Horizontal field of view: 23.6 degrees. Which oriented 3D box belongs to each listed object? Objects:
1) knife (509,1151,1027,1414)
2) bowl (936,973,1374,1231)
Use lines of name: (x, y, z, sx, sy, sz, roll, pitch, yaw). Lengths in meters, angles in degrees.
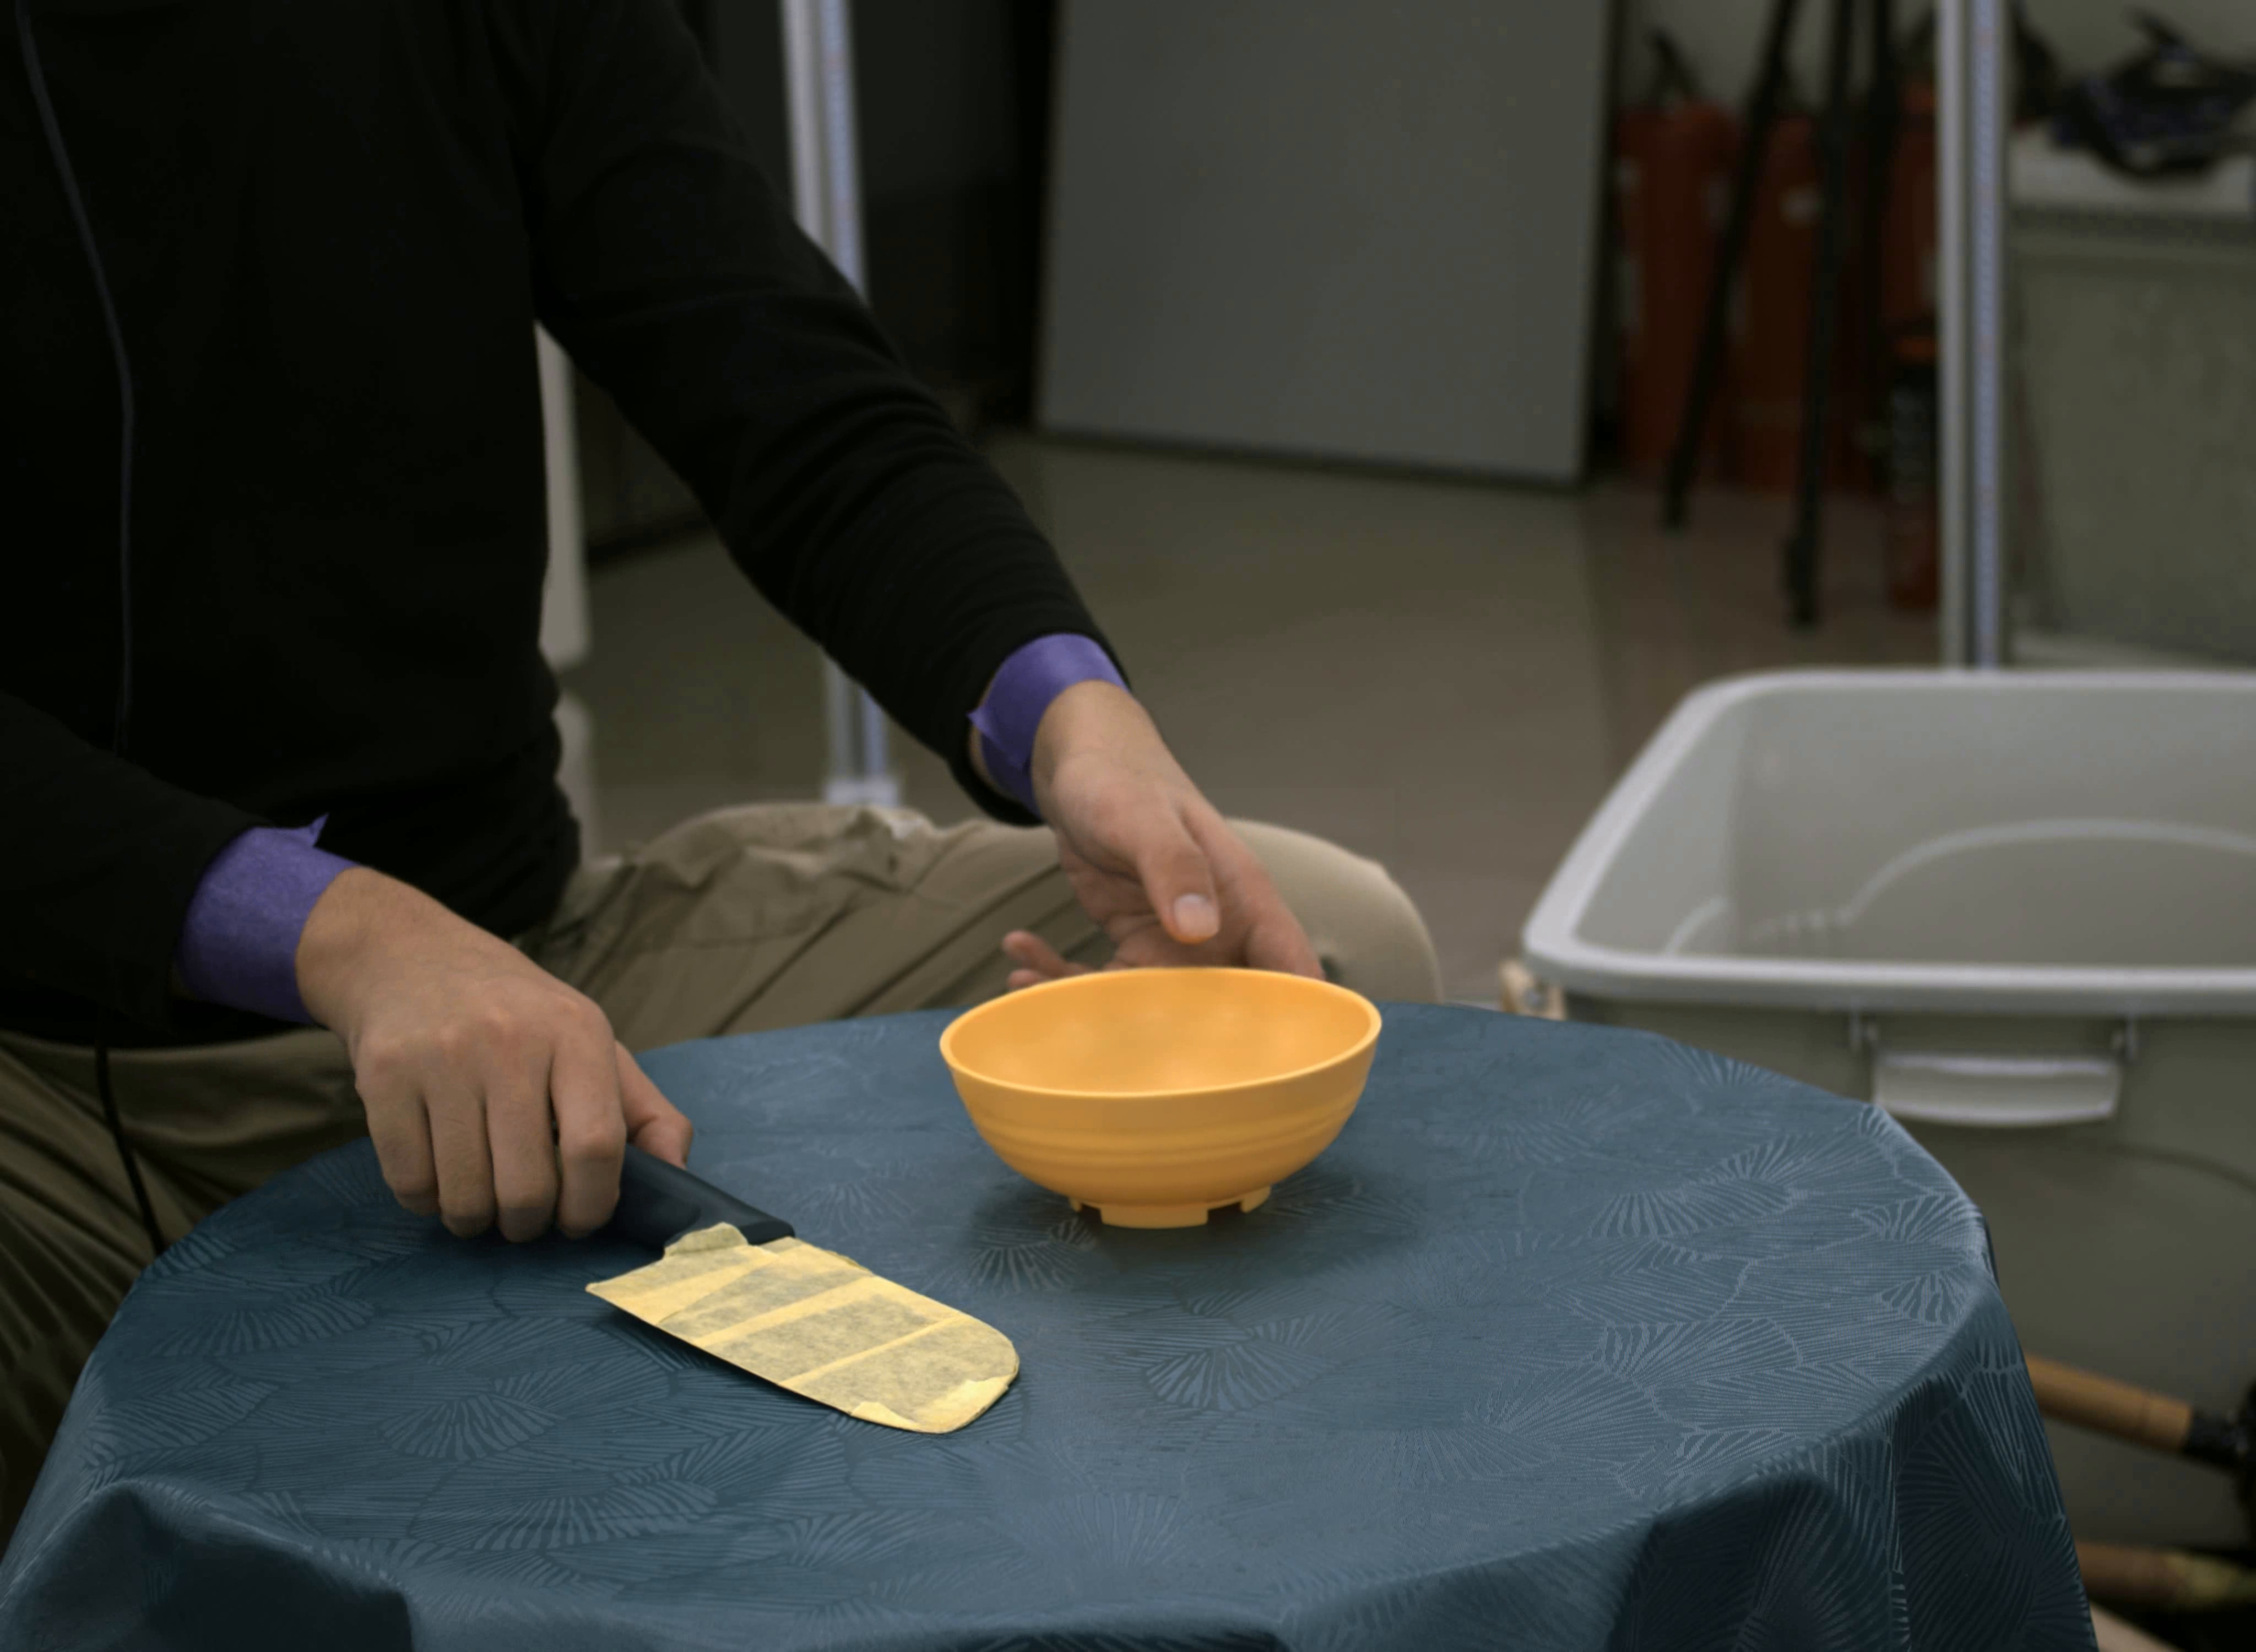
knife: (-0.125, 0.144, 1.691, 0.079, 0.027, 0.292, -12, 17, -33)
bowl: (0.009, 0.094, 1.759, 0.143, 0.061, 0.145, -2, 13, 0)
